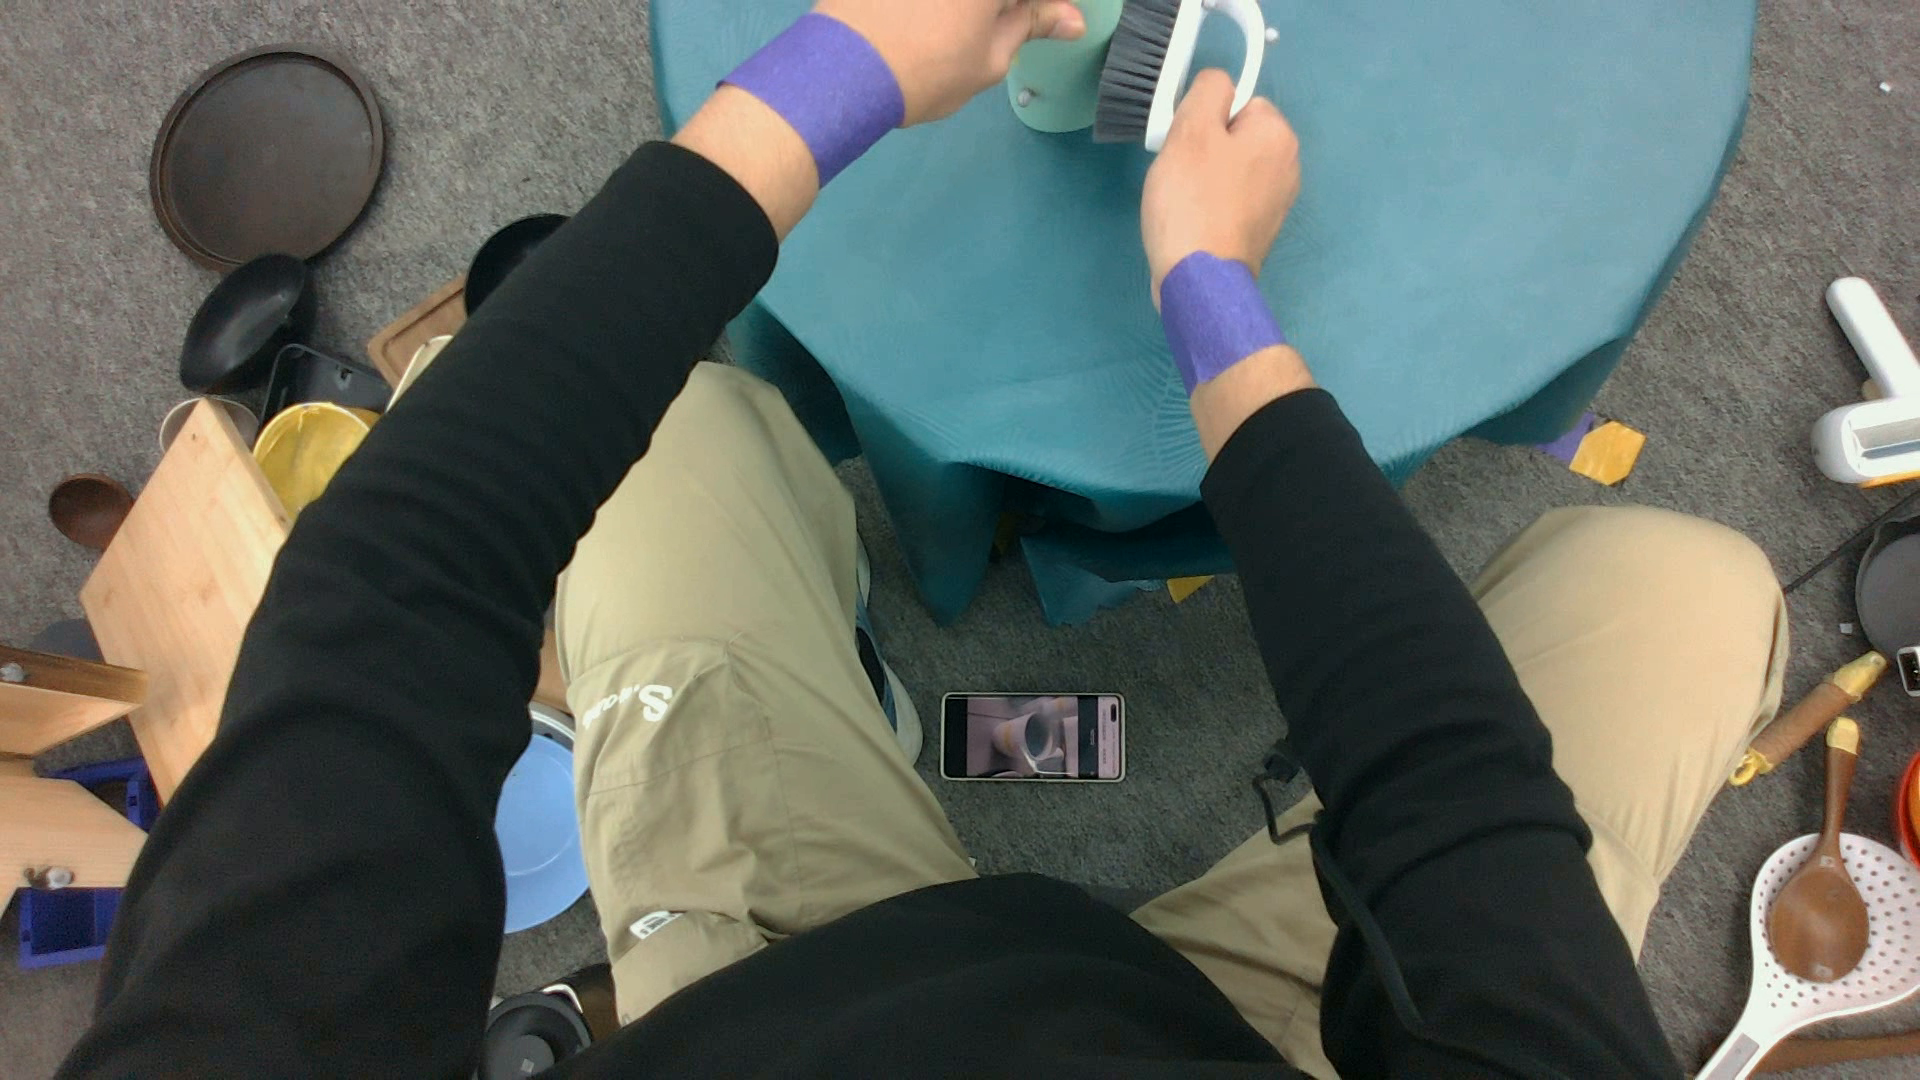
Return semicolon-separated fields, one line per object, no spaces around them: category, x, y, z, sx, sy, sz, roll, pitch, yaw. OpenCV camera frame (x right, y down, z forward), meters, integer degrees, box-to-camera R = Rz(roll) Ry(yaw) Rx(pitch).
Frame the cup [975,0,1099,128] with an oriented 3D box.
cup;0.041;-0.267;0.697;0.067;0.132;0.067;-1;81;5

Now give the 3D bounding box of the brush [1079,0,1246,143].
brush;0.106;-0.245;0.692;0.072;0.050;0.099;13;69;6
